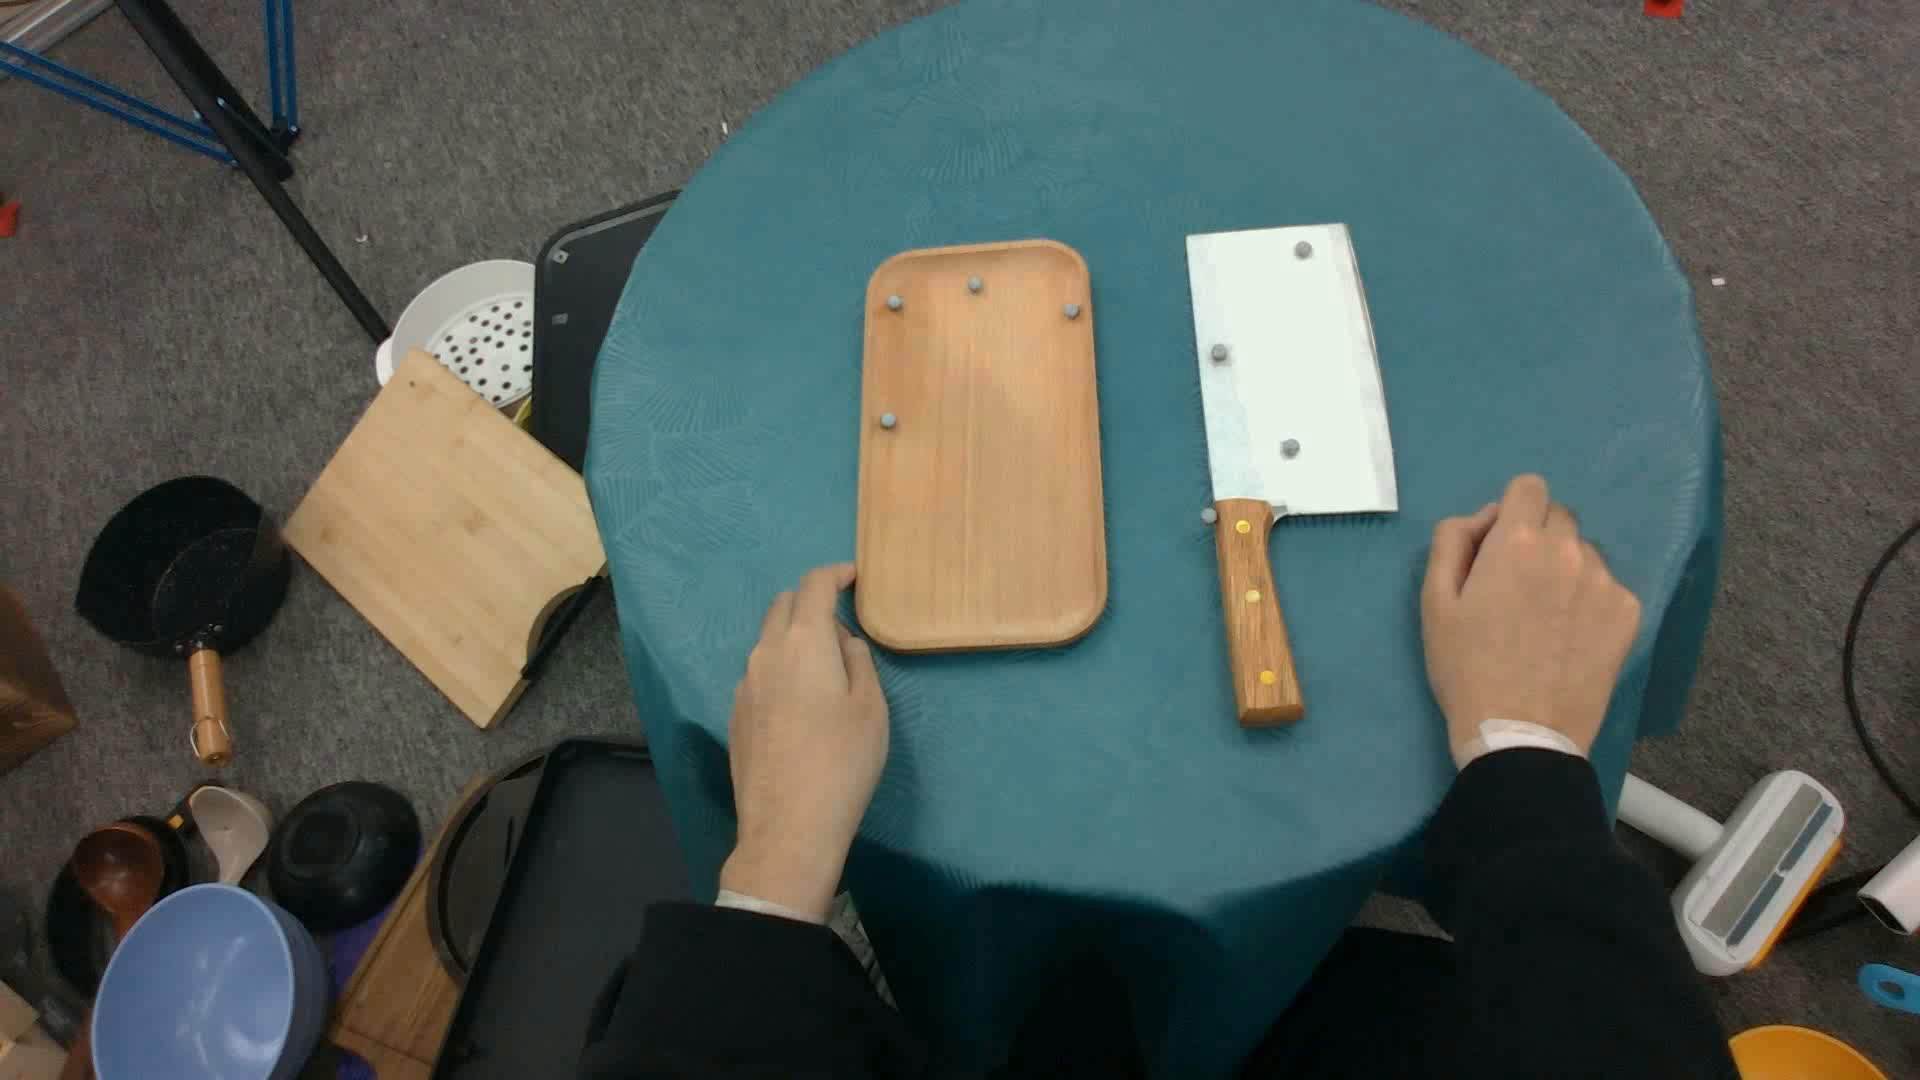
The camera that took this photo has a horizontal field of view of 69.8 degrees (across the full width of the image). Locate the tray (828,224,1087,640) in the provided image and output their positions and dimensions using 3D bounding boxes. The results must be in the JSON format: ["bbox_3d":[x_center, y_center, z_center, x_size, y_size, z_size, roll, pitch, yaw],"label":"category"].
[{"bbox_3d":[-0.001,-0.063,0.728,0.130,0.023,0.251,-3,63,8],"label":"tray"}]

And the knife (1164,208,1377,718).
[{"bbox_3d":[0.161,-0.054,0.703,0.093,0.021,0.307,-3,60,4],"label":"knife"}]
